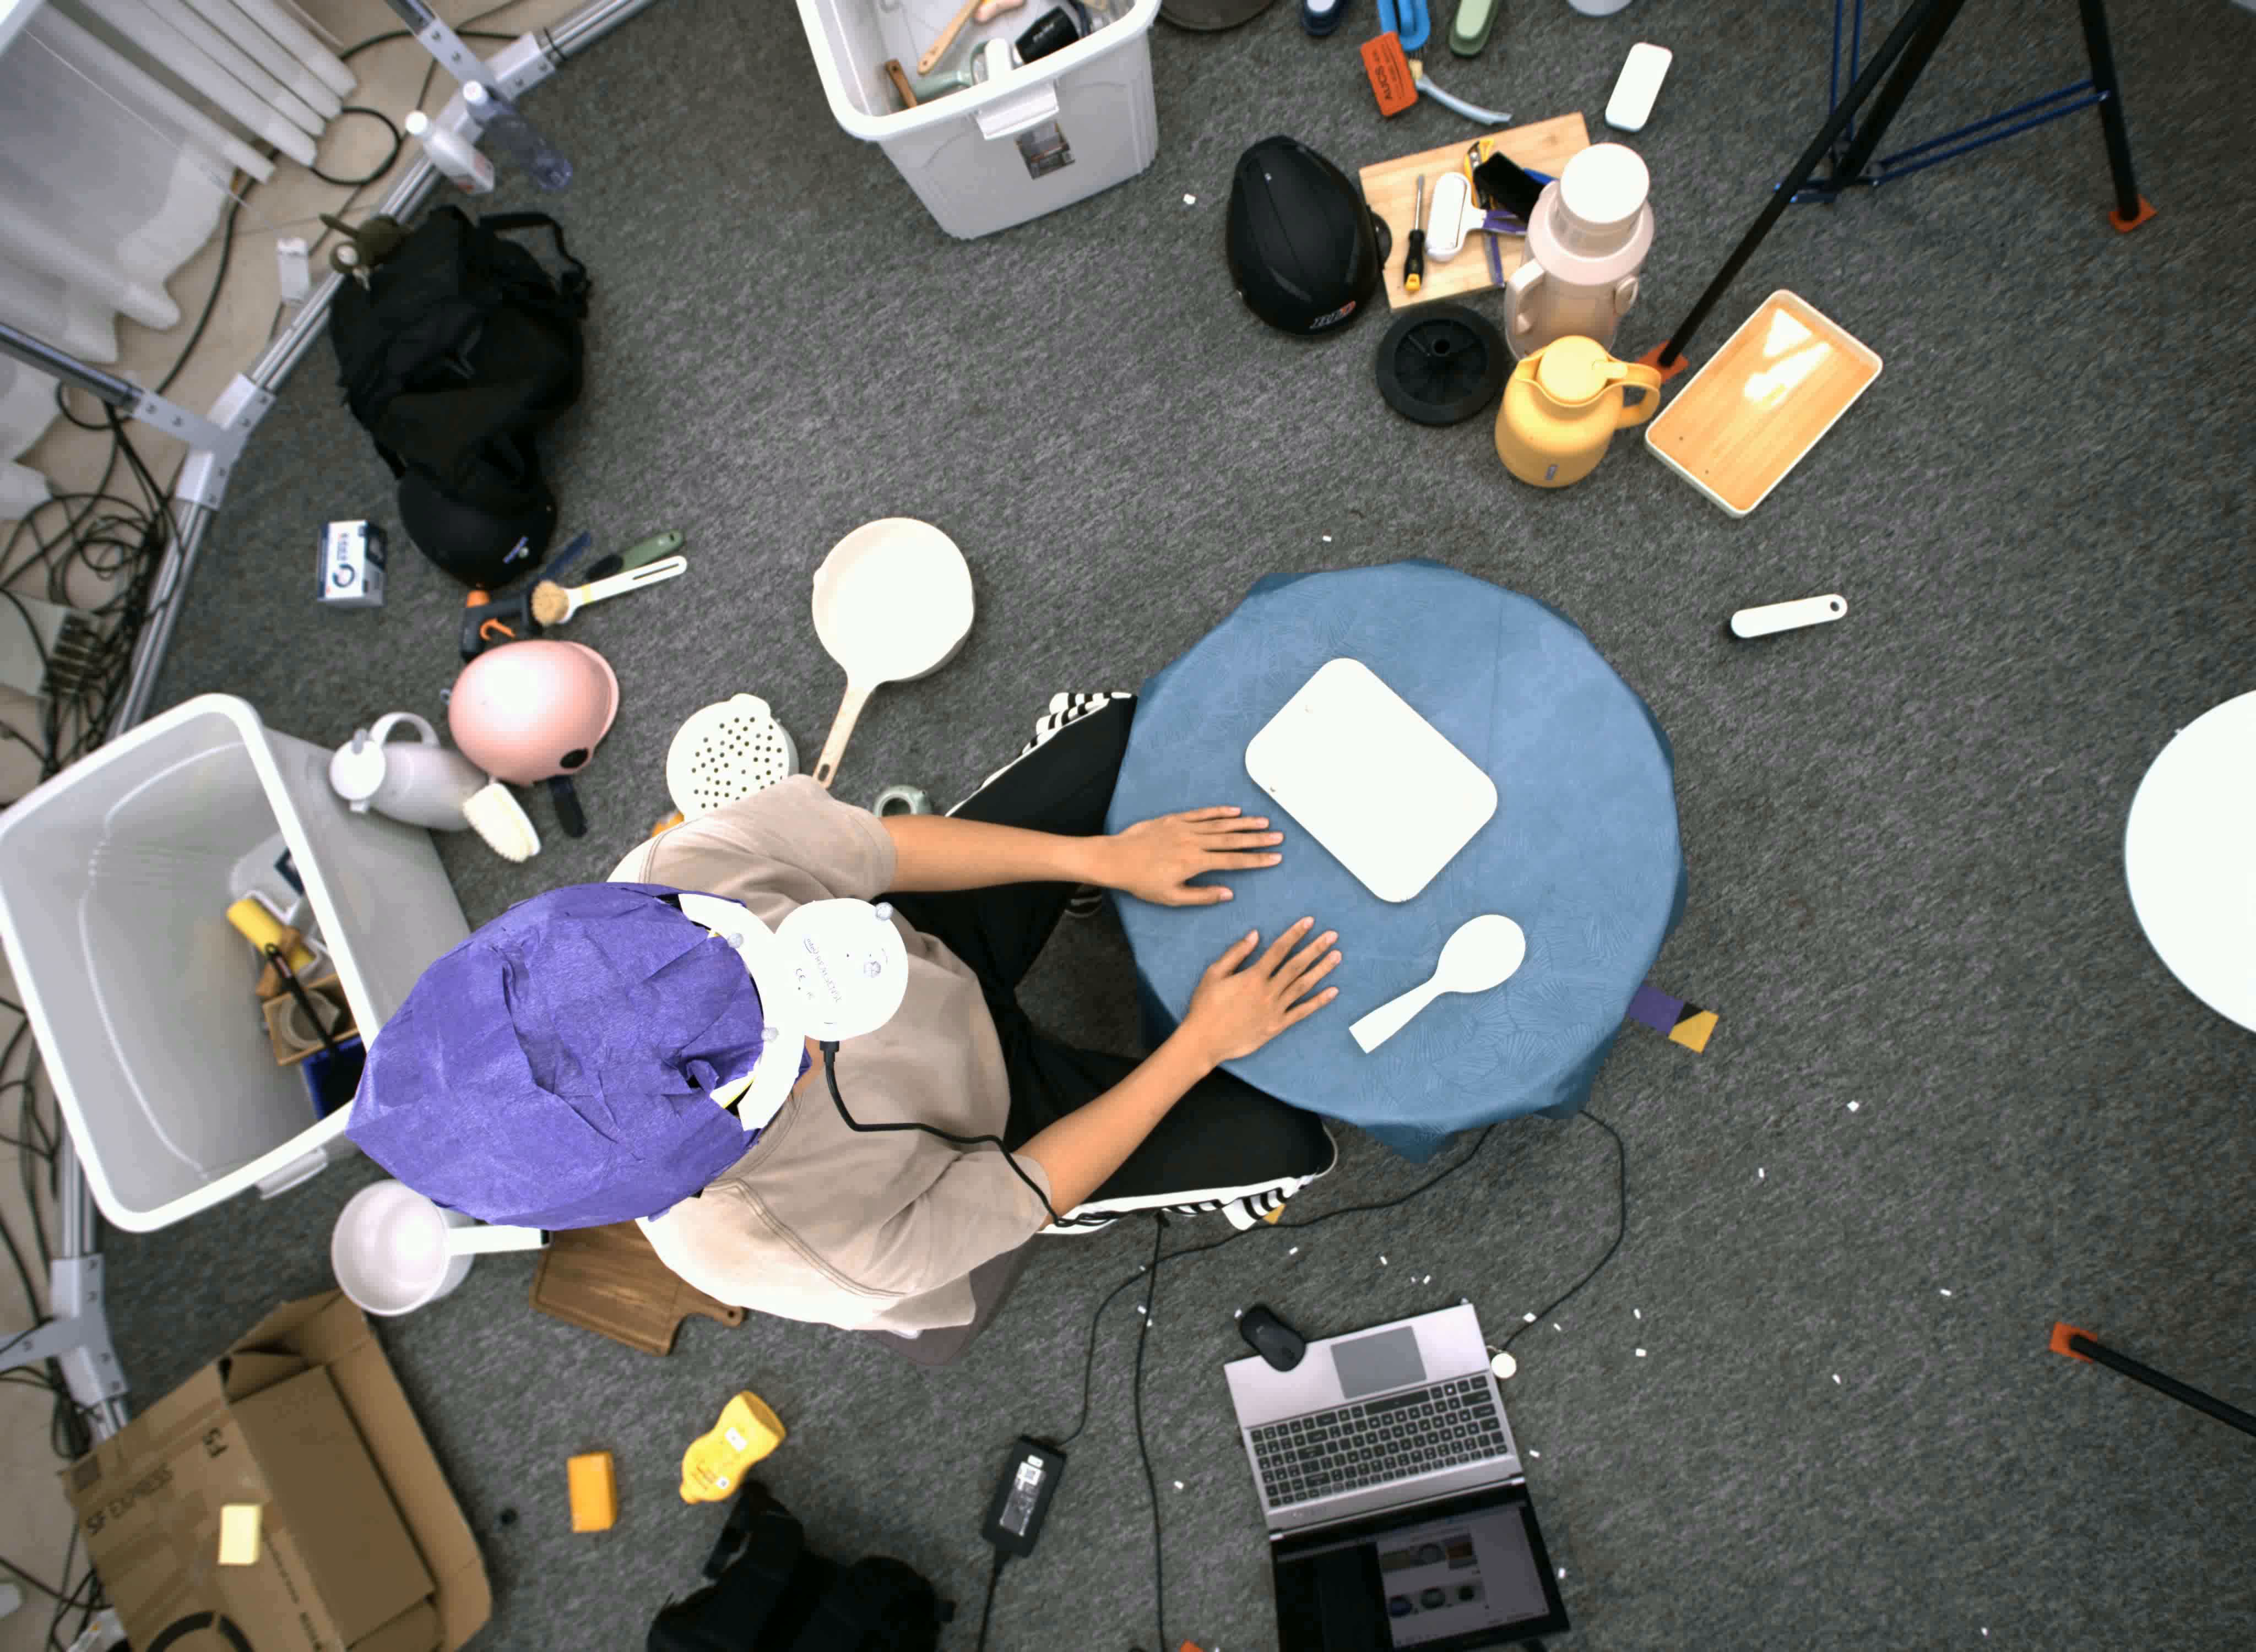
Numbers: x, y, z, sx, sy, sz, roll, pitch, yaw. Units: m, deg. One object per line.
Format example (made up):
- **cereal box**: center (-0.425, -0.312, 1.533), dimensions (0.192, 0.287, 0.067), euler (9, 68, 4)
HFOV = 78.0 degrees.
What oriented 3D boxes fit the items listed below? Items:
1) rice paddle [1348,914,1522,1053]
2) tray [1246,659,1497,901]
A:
- **rice paddle**: center (0.319, 0.162, 1.431), dimensions (0.206, 0.029, 0.068), euler (-36, 82, 6)
- **tray**: center (0.257, -0.050, 1.462), dimensions (0.238, 0.017, 0.172), euler (44, 94, 10)
